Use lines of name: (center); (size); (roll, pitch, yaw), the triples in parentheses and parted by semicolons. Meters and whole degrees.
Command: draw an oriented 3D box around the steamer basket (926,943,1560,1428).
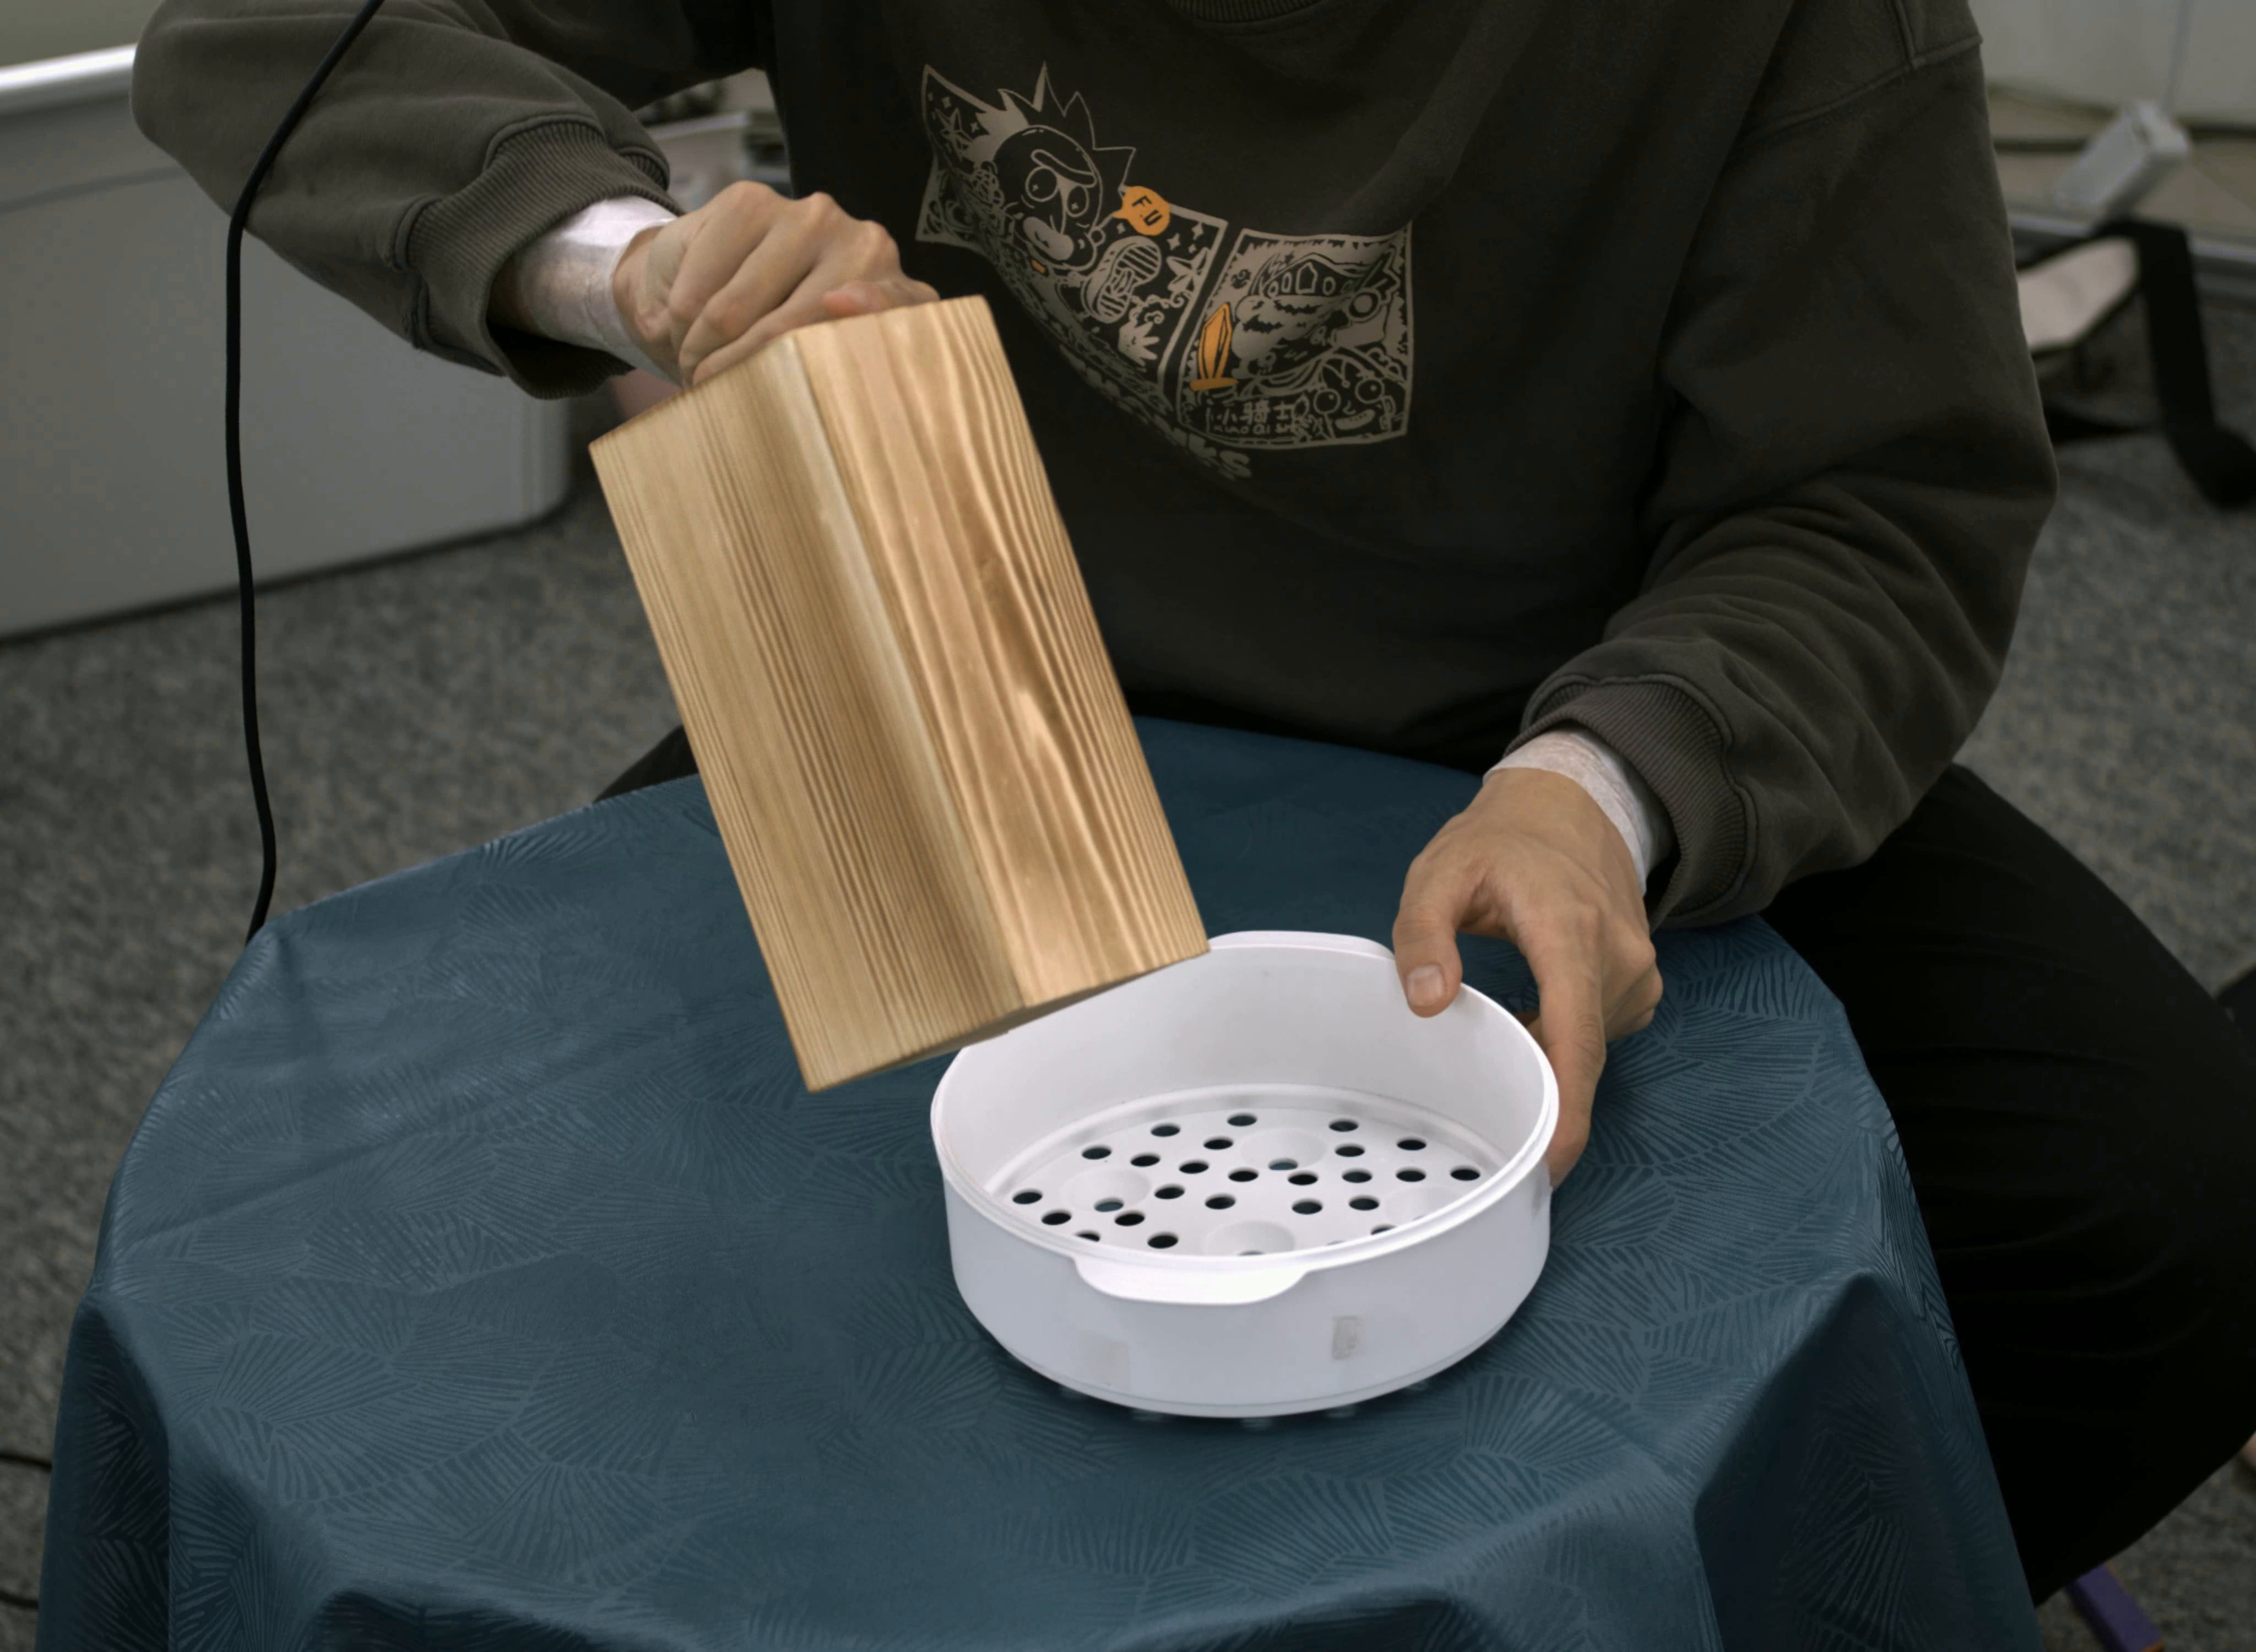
steamer basket: (0.037, 0.116, 1.795); (0.200, 0.068, 0.234); (3, 27, 11)

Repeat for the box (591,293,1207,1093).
box: (-0.071, -0.040, 1.697); (0.081, 0.213, 0.106); (-13, -9, -45)
